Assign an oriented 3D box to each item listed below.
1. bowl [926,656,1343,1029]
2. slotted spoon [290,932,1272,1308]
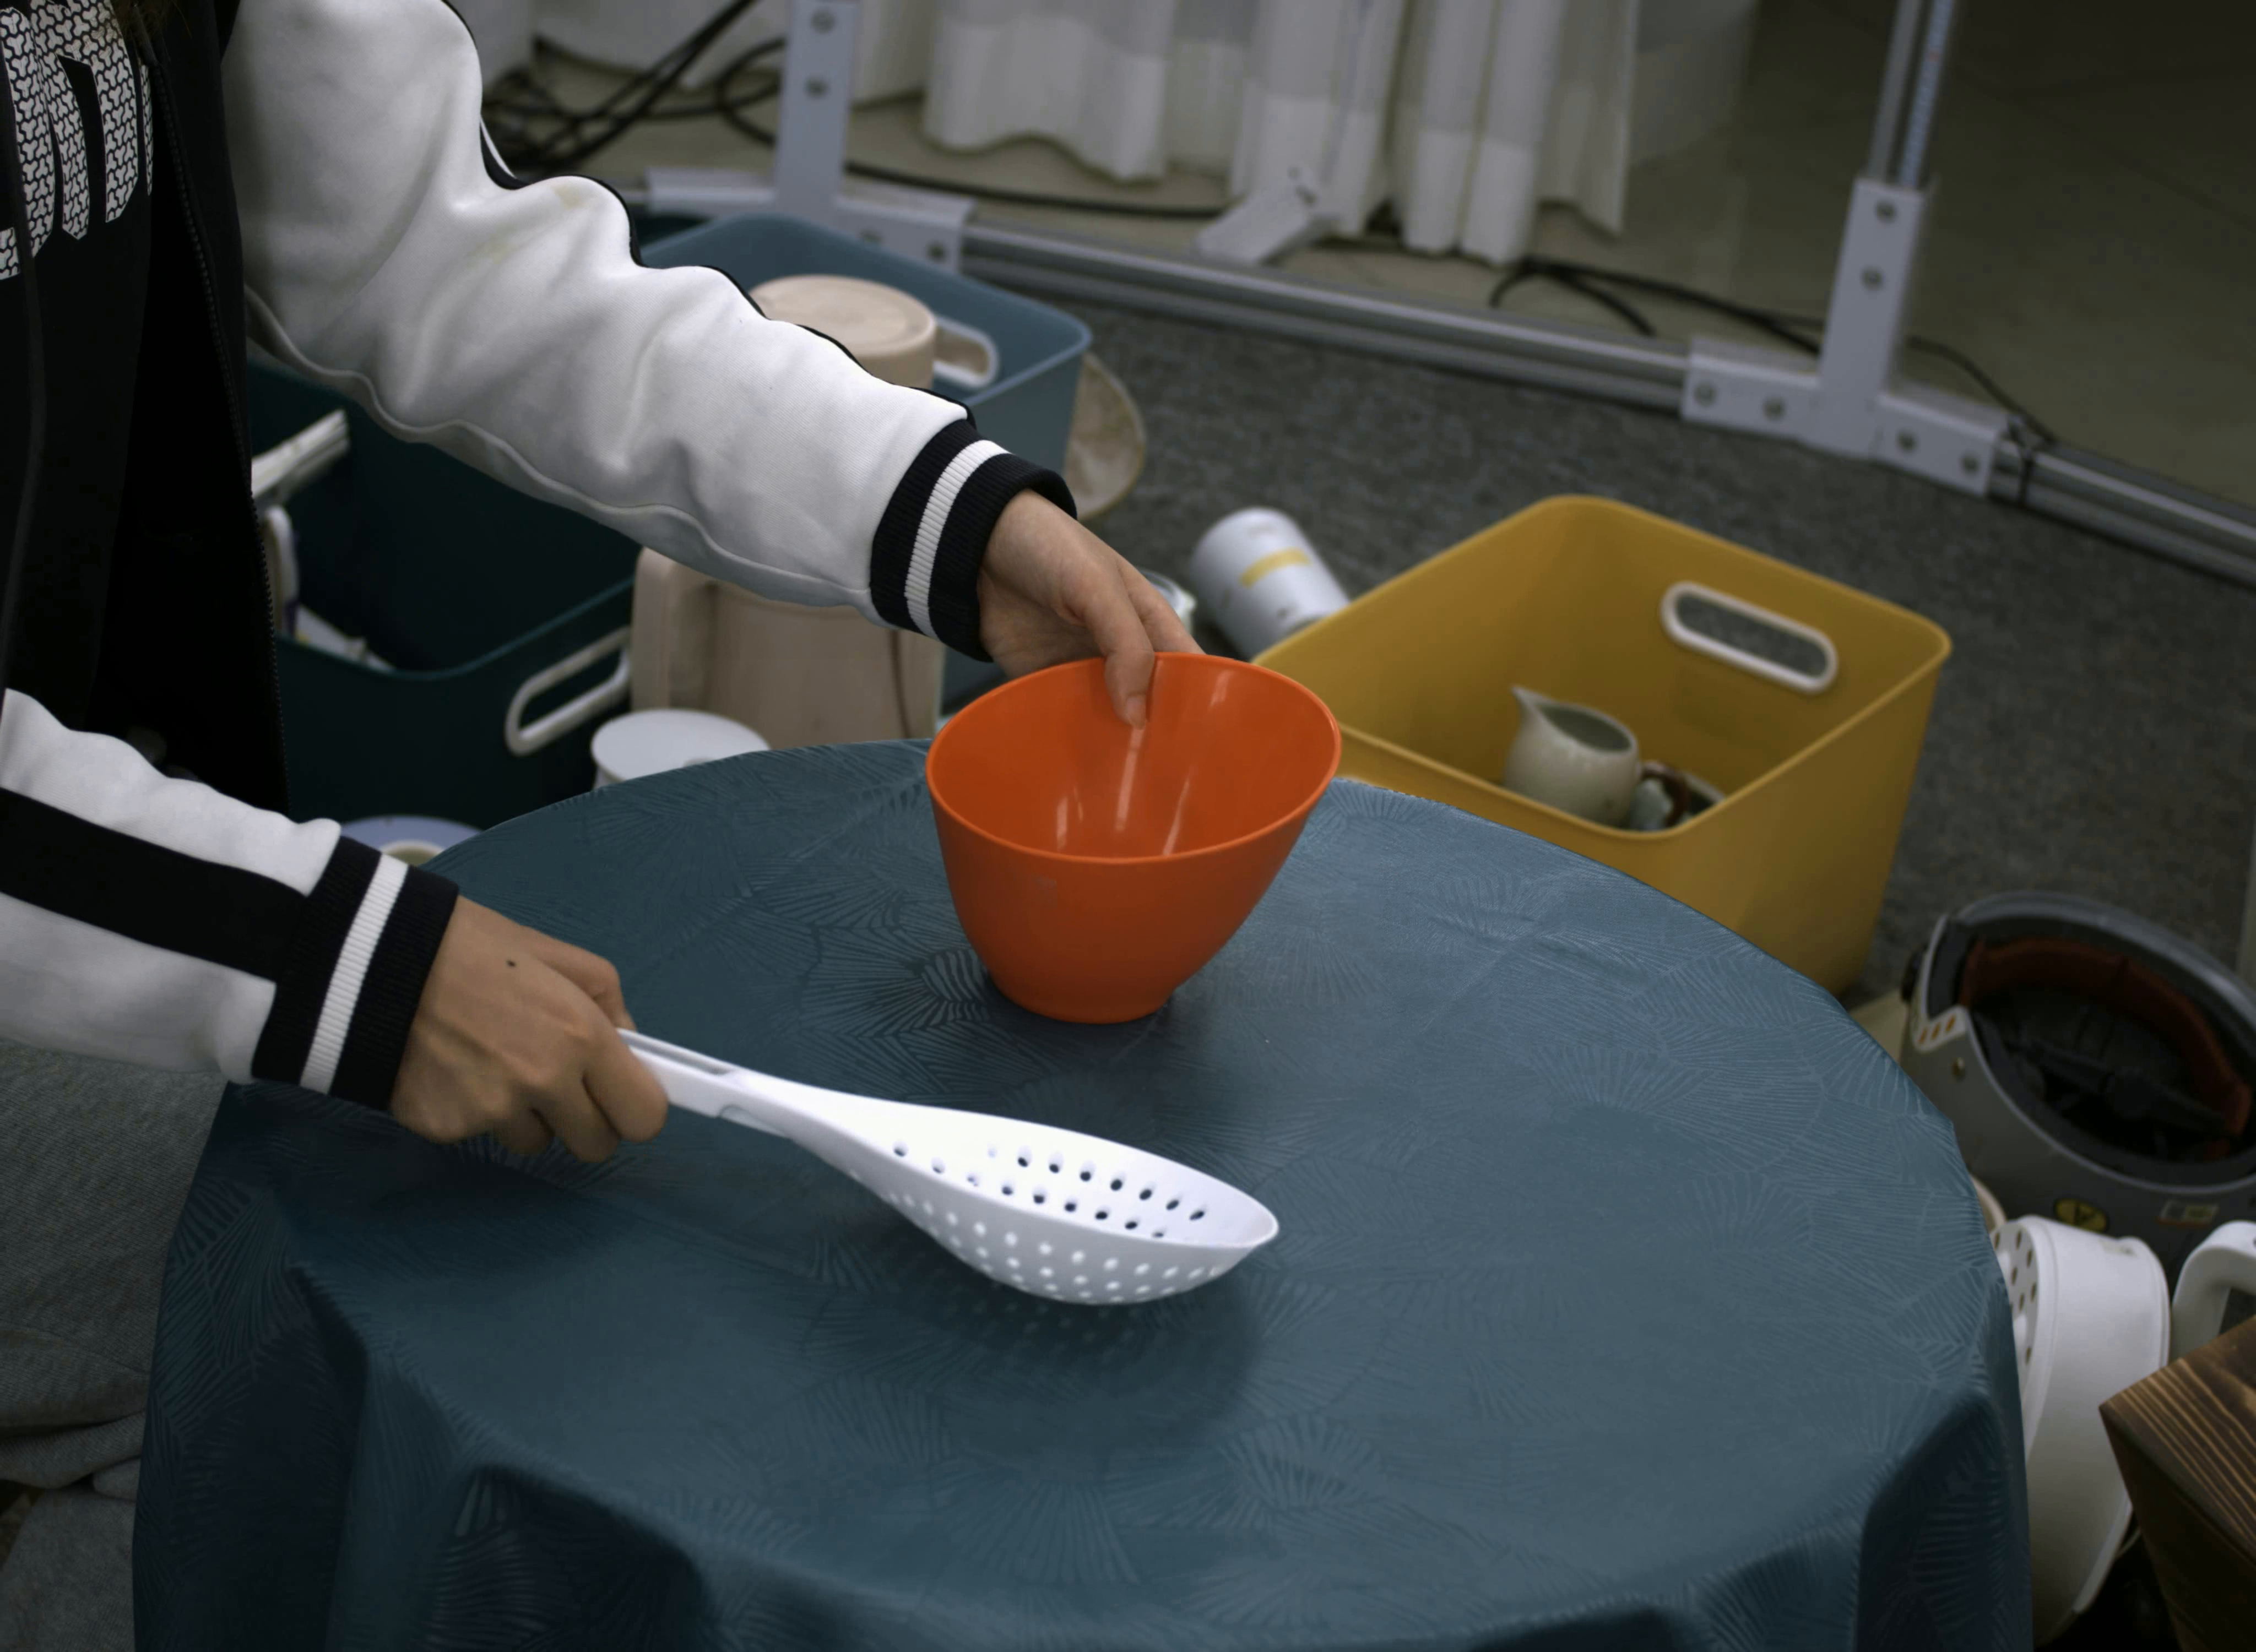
[{"bbox_3d":[-0.001,0.012,1.912,0.147,0.104,0.149,4,29,-3],"label":"bowl"},{"bbox_3d":[-0.120,0.092,1.755,0.350,0.046,0.135,21,10,15],"label":"slotted spoon"}]
